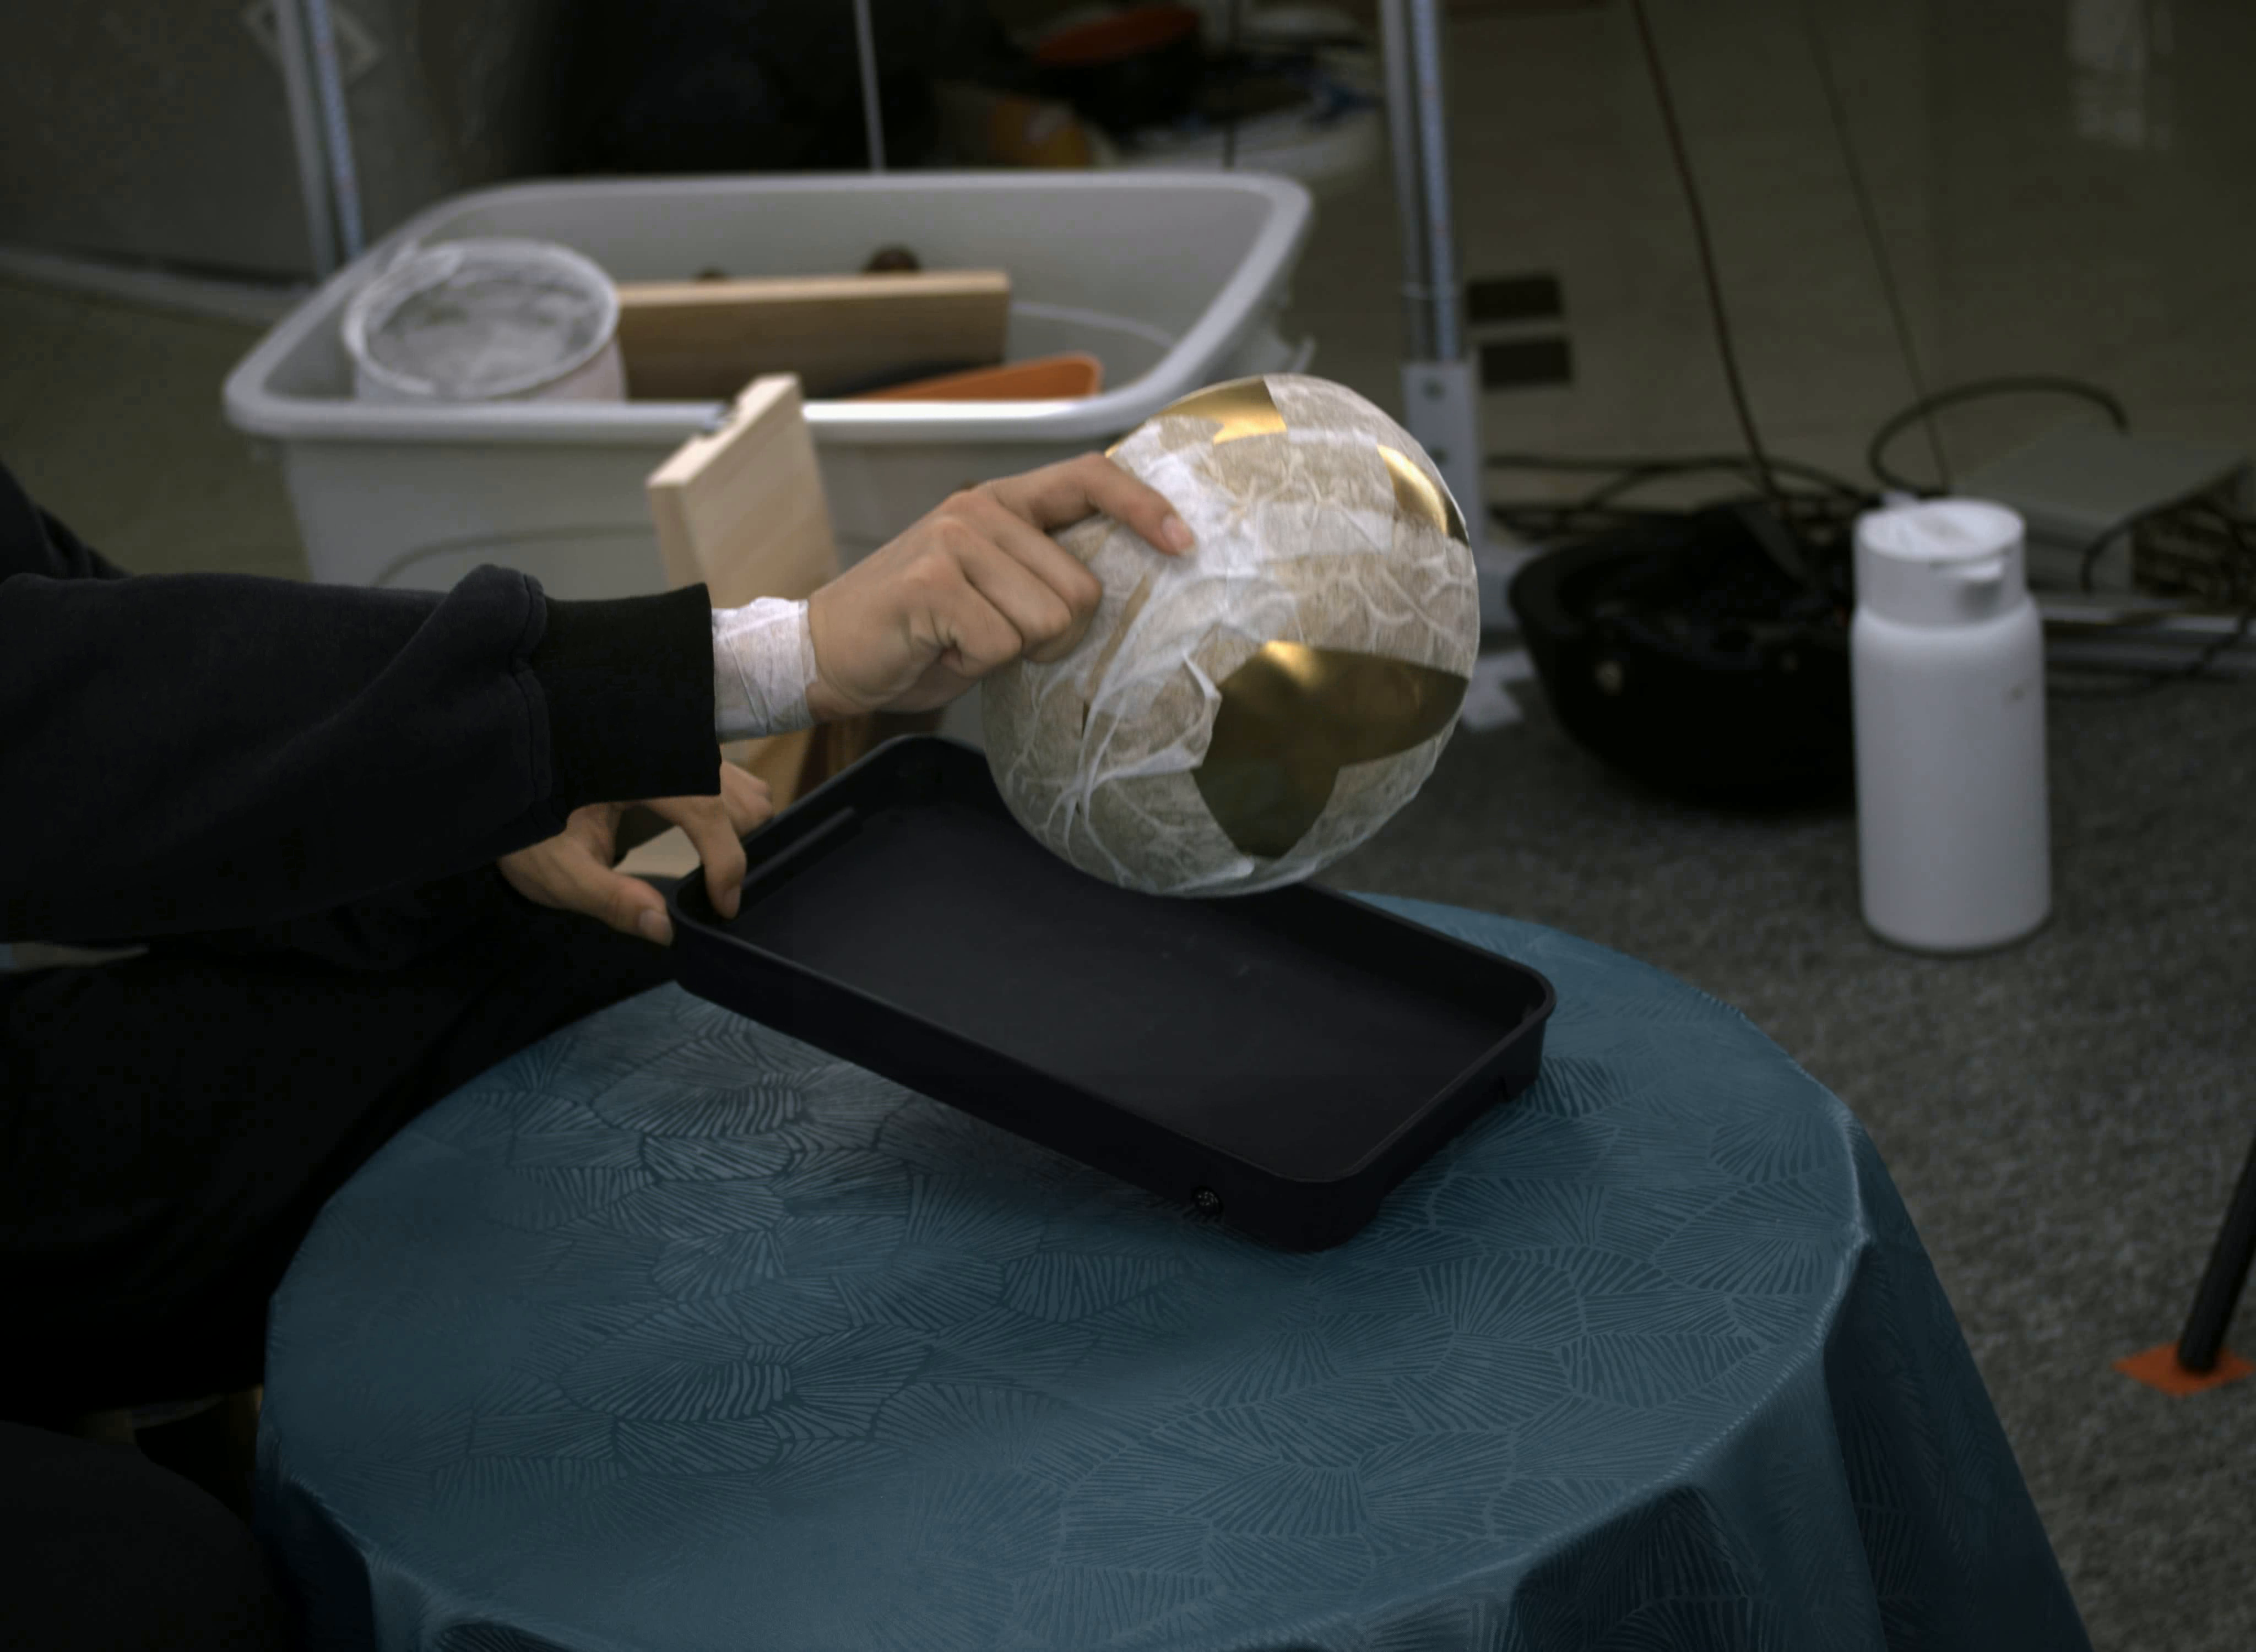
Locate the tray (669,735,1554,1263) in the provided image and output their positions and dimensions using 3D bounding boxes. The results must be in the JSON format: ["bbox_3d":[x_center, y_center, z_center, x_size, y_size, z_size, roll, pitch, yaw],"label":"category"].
[{"bbox_3d":[-0.009,0.063,2.209,0.315,0.038,0.182,24,35,27],"label":"tray"}]

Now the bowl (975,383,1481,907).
[{"bbox_3d":[0.051,-0.047,2.047,0.213,0.219,0.093,-21,42,-28],"label":"bowl"}]
